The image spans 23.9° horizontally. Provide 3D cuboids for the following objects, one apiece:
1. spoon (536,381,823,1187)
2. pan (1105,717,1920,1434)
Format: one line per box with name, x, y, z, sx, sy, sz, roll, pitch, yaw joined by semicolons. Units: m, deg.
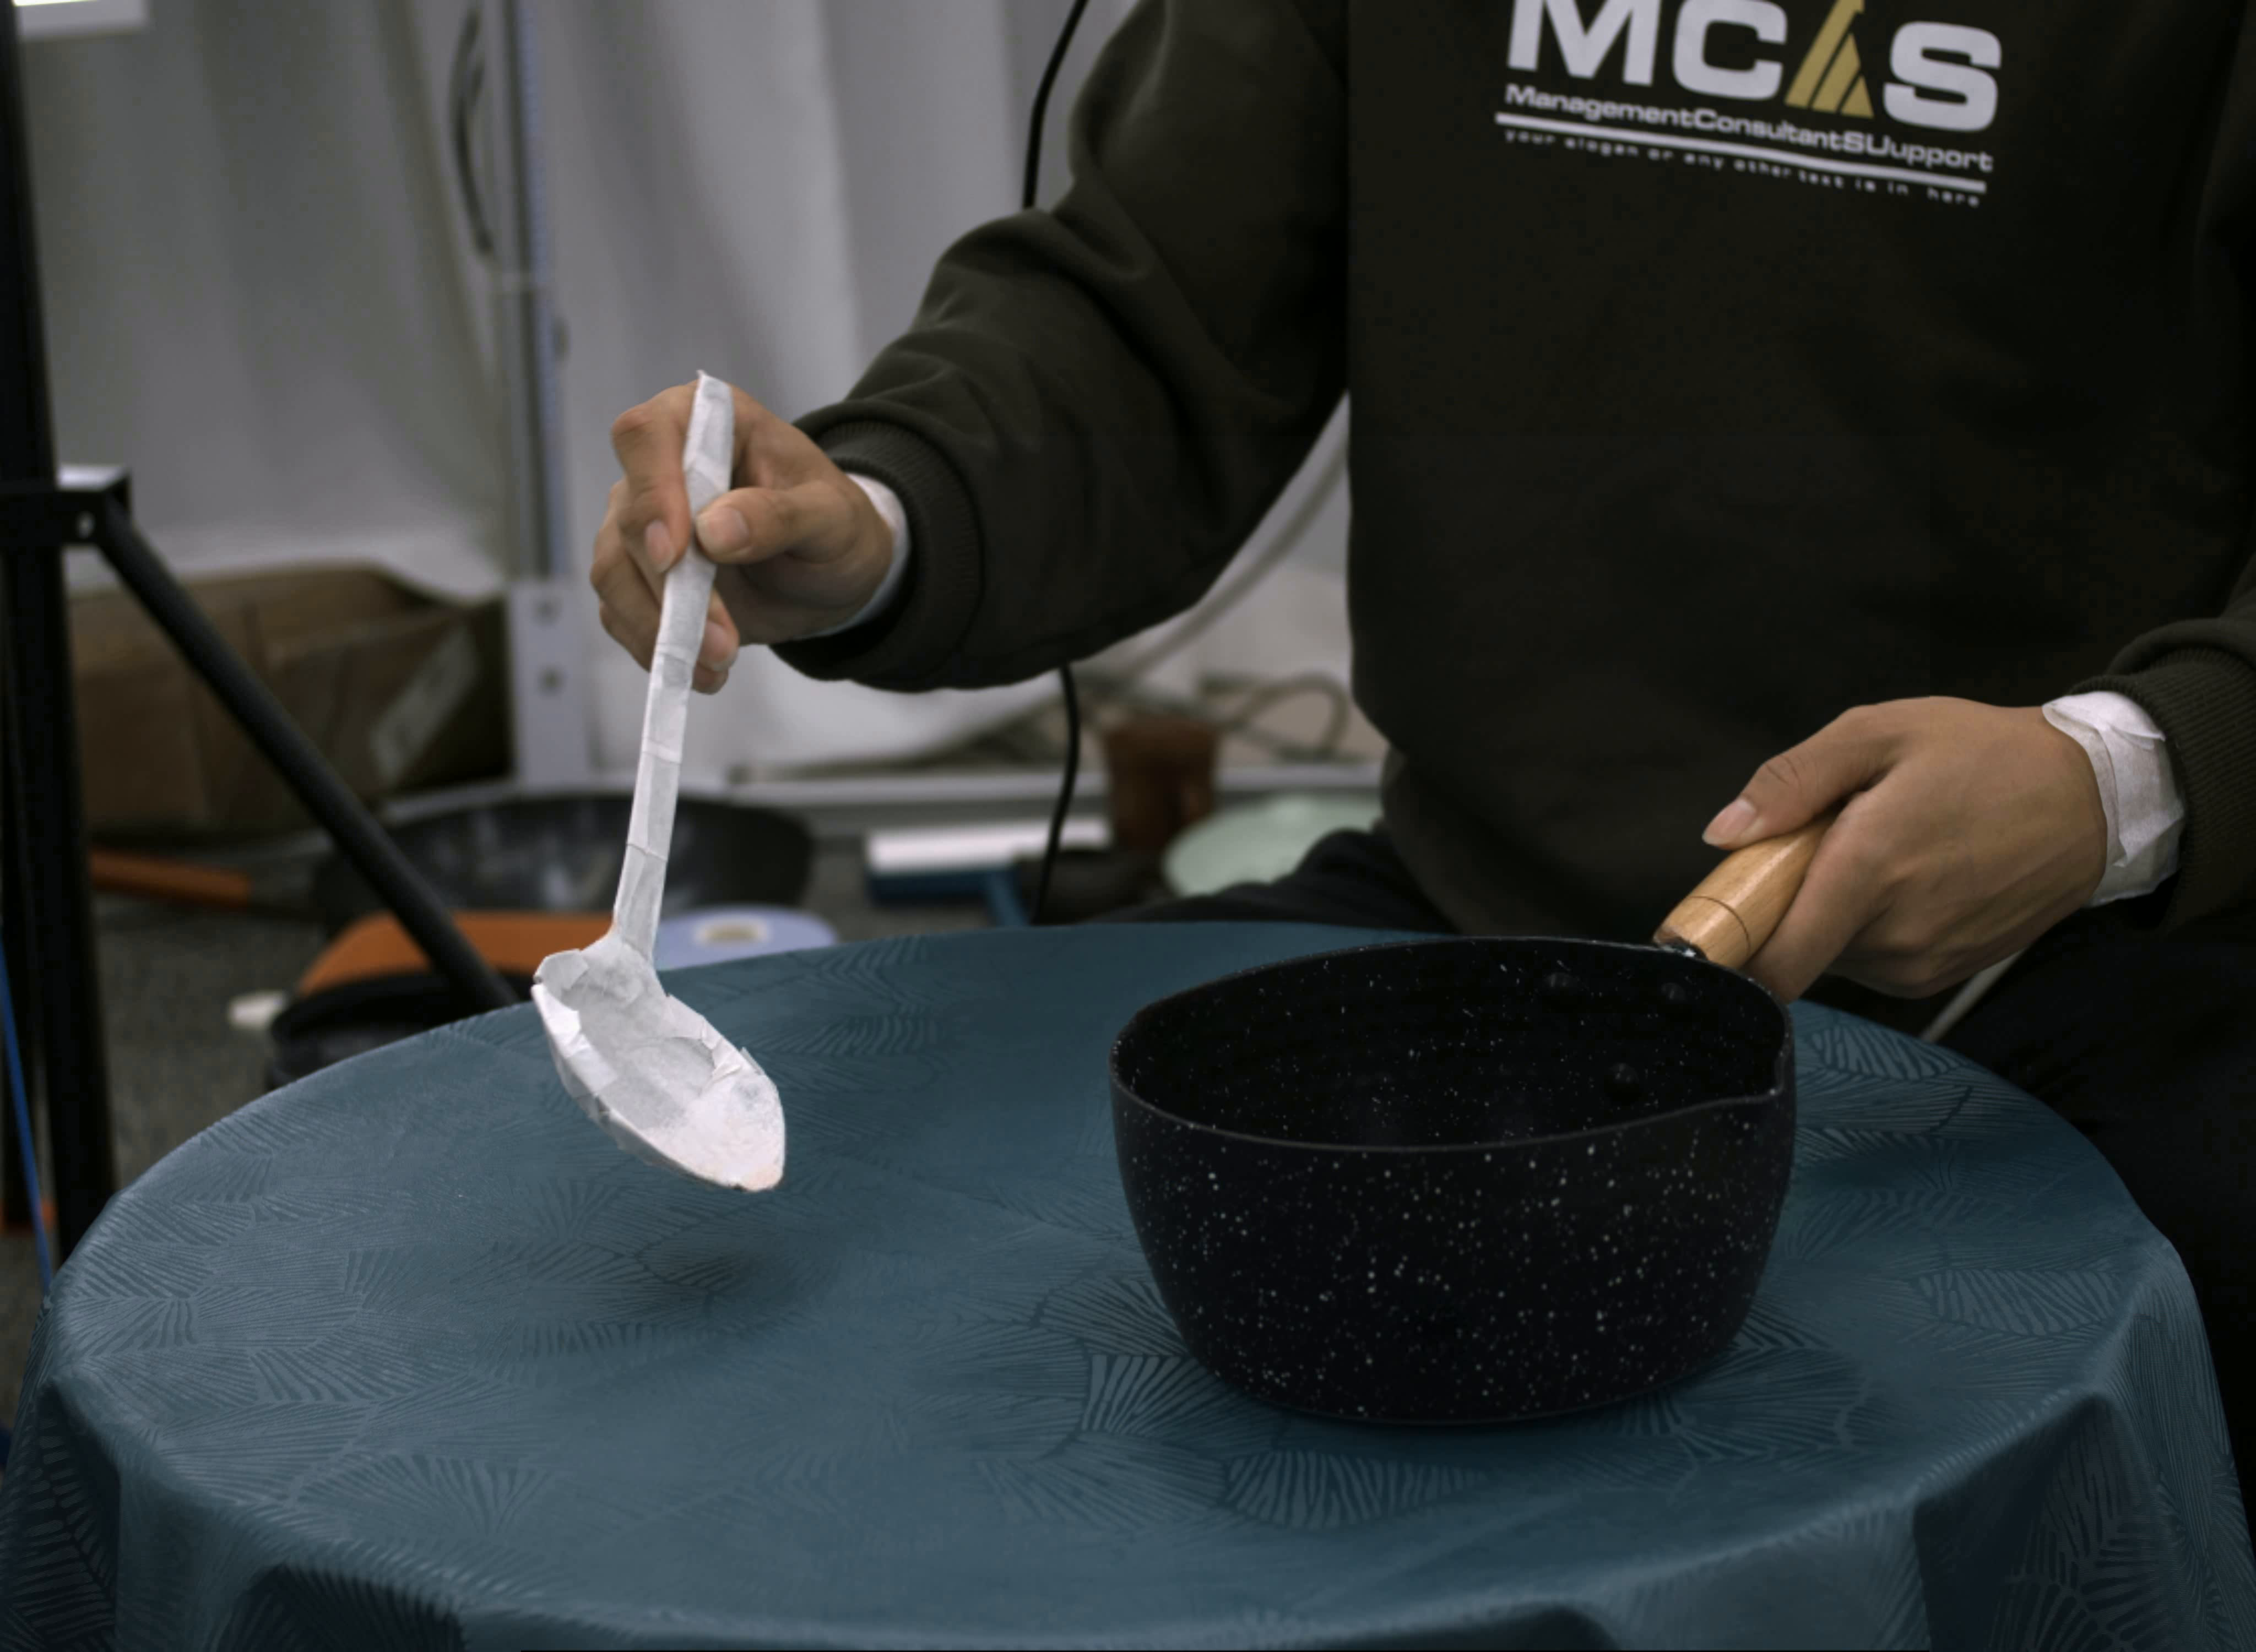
spoon;-0.115;-0.018;1.549;0.060;0.279;0.098;-20;-40;41
pan;0.133;0.065;1.482;0.211;0.108;0.336;5;19;36
